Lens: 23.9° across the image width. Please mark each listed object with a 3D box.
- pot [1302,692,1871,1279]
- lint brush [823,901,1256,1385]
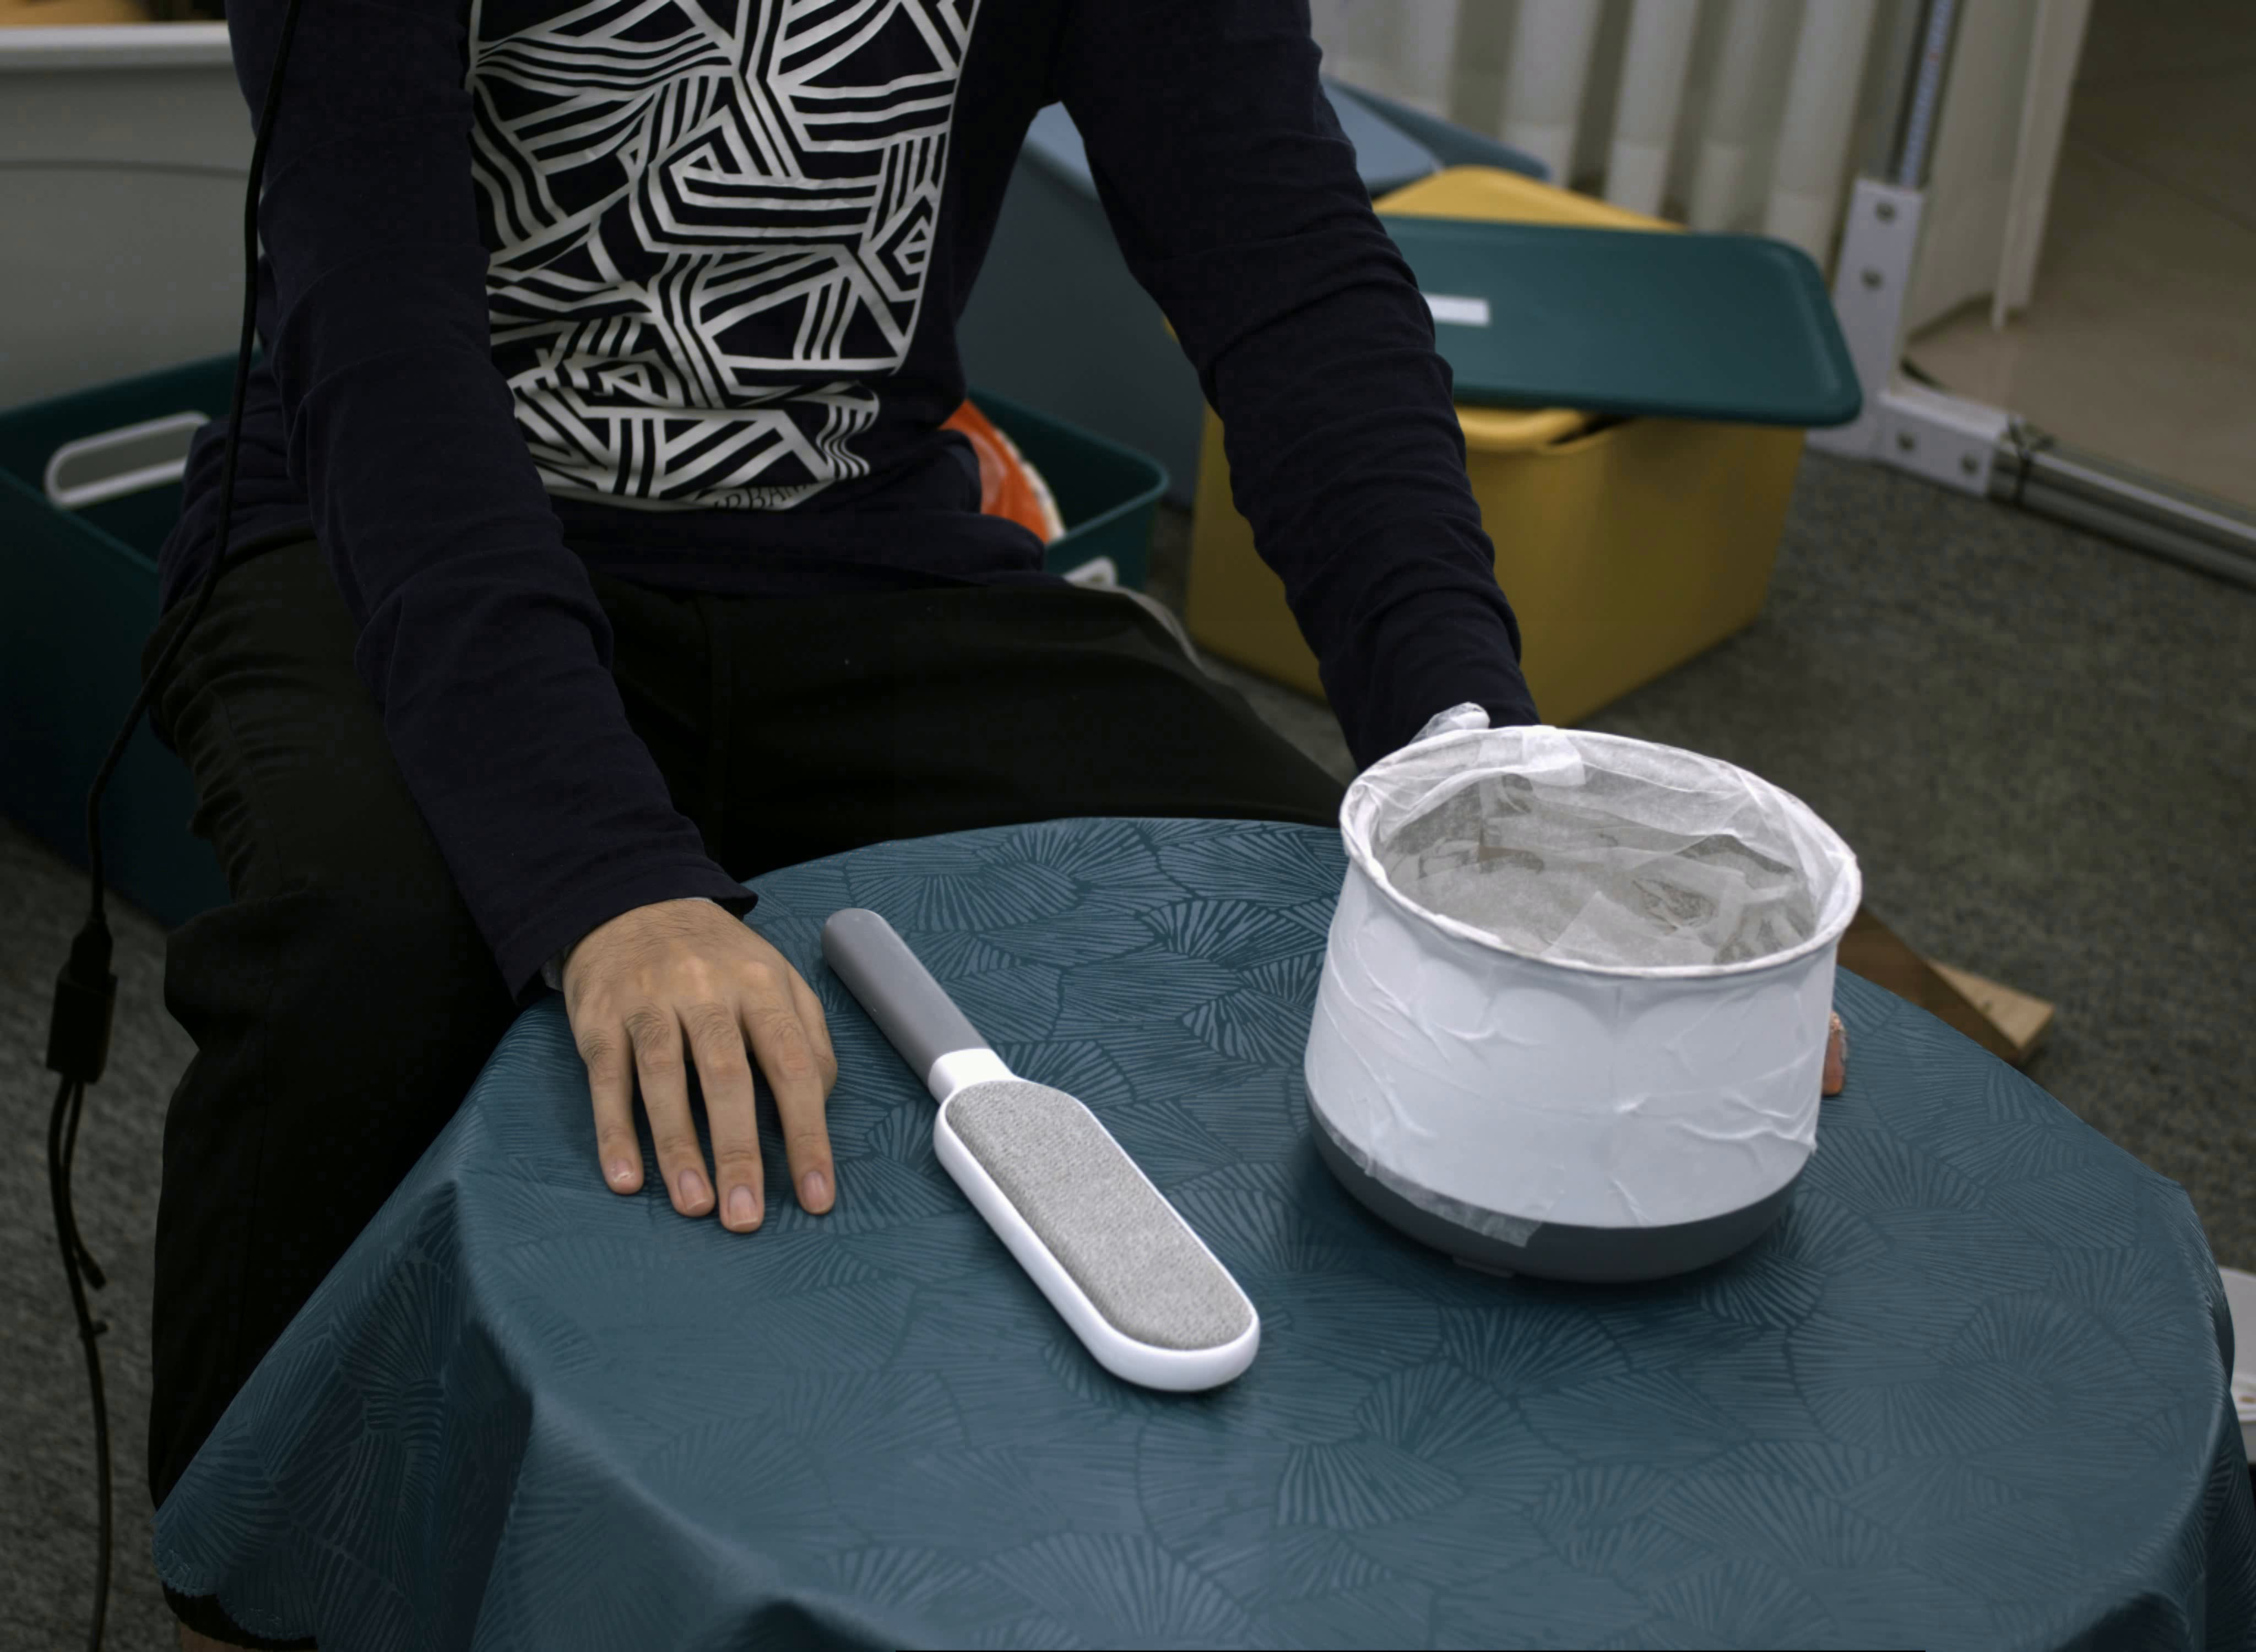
[{"bbox_3d":[0.141,0.048,1.831,0.177,0.136,0.236,-4,29,-25],"label":"pot"},{"bbox_3d":[-0.038,0.102,1.809,0.060,0.021,0.312,-12,32,-21],"label":"lint brush"}]
